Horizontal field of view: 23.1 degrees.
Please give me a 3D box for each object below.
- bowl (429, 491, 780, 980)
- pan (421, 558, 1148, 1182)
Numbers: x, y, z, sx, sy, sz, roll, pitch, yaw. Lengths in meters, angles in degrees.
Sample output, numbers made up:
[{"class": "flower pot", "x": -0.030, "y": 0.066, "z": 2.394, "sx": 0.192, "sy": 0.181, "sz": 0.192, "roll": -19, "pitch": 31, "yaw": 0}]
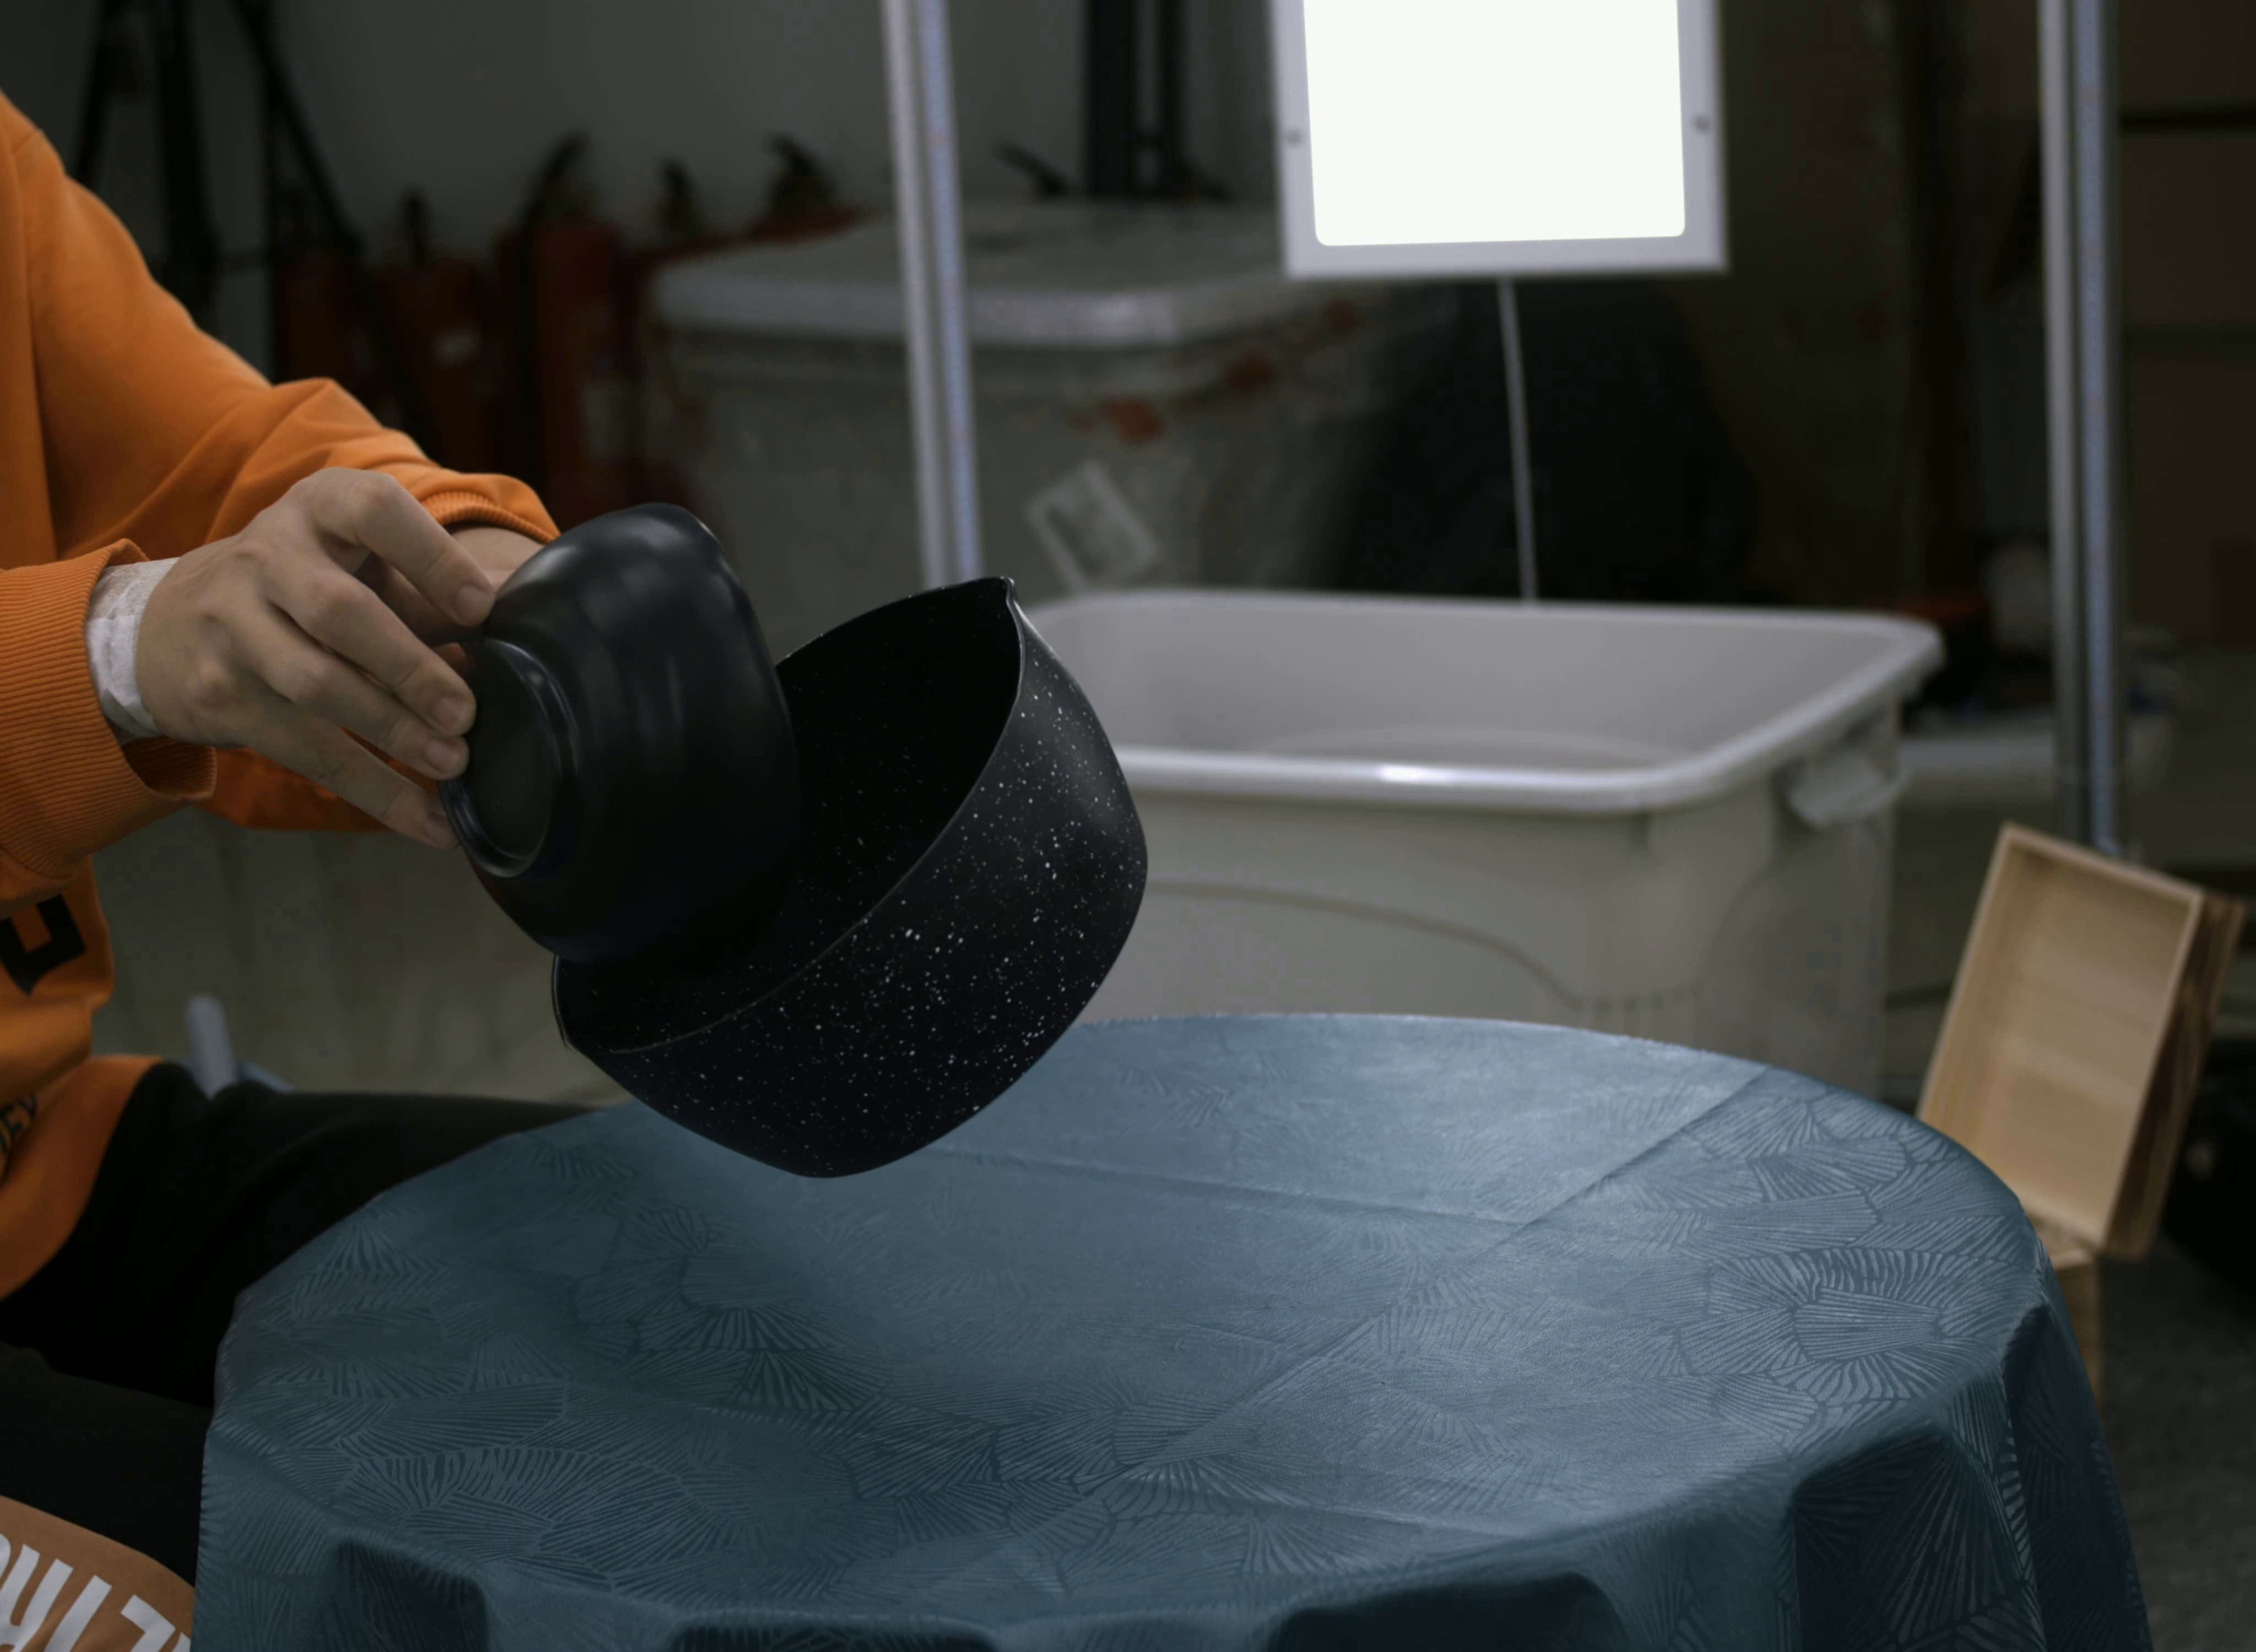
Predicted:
[{"class": "bowl", "x": -0.160, "y": -0.022, "z": 1.605, "sx": 0.065, "sy": 0.138, "sz": 0.173, "roll": -12, "pitch": -20, "yaw": -32}, {"class": "pan", "x": -0.124, "y": 0.004, "z": 1.731, "sx": 0.206, "sy": 0.107, "sz": 0.349, "roll": -51, "pitch": 28, "yaw": -12}]
